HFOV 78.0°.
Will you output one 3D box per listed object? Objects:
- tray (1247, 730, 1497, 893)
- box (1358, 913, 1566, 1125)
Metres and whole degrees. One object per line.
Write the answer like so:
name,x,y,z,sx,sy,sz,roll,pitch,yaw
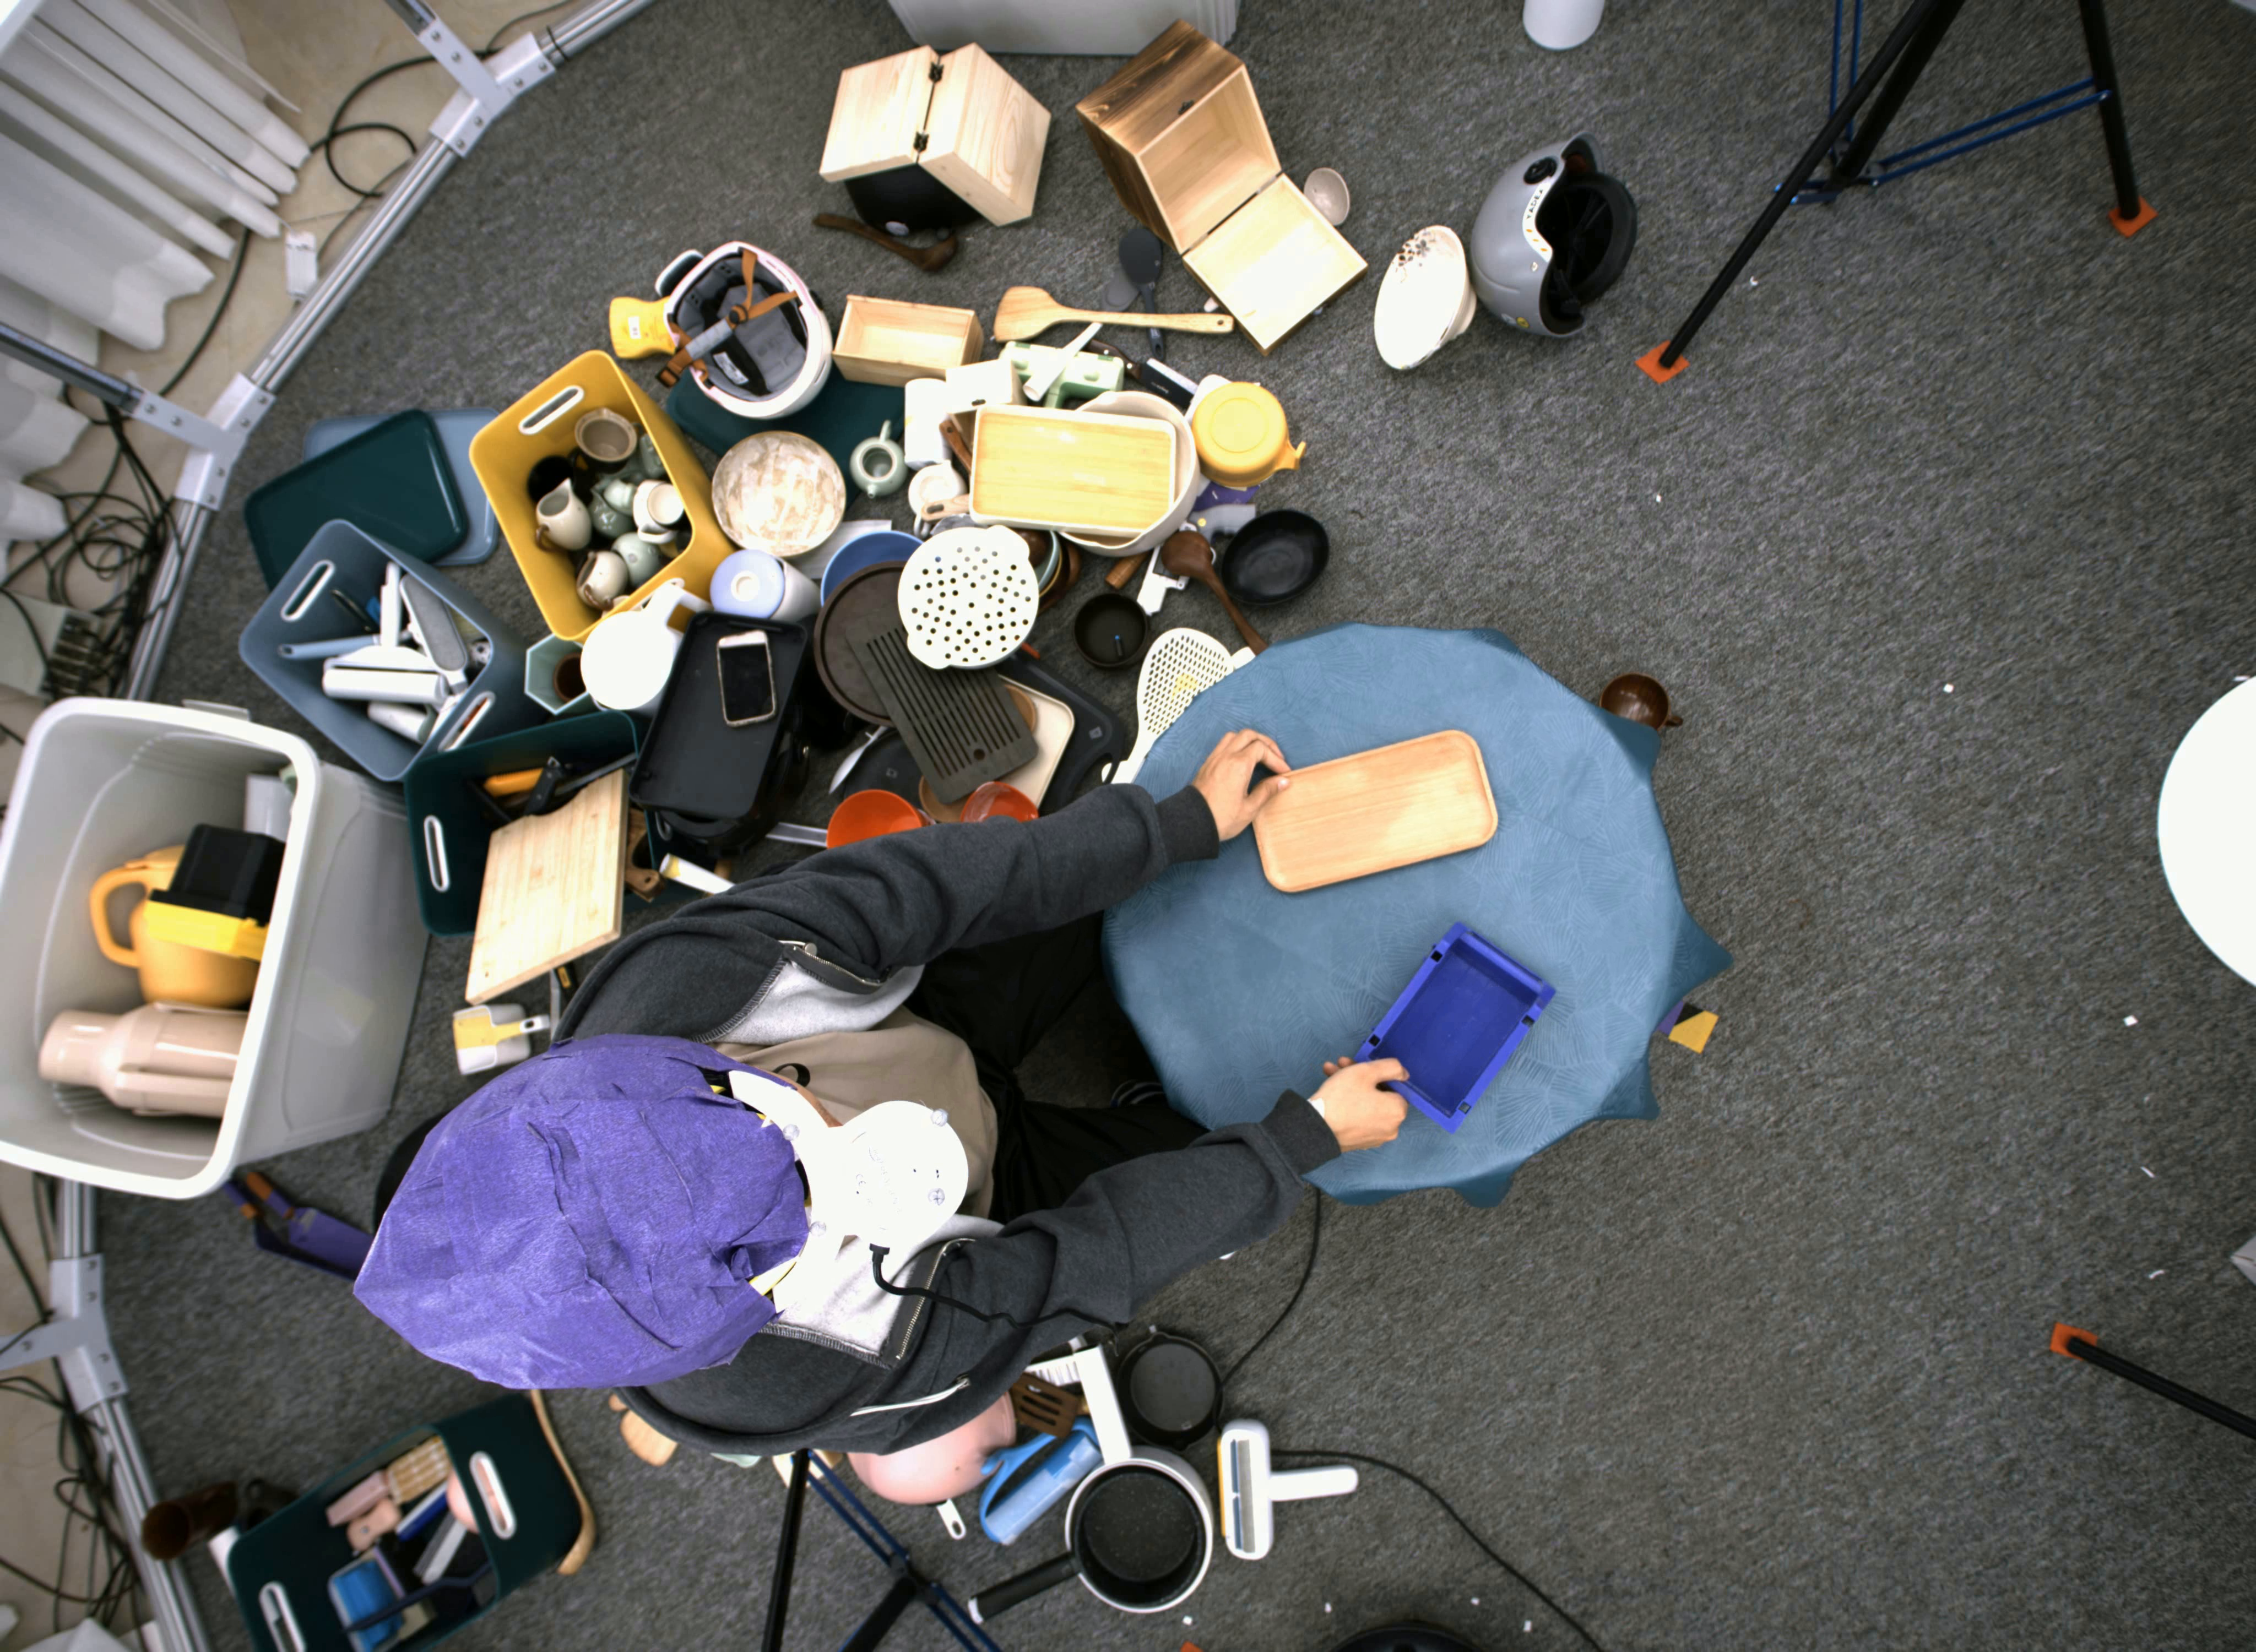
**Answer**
tray,0.256,-0.016,1.458,0.252,0.023,0.129,-14,82,10
box,0.336,0.189,1.393,0.124,0.082,0.180,40,96,16
